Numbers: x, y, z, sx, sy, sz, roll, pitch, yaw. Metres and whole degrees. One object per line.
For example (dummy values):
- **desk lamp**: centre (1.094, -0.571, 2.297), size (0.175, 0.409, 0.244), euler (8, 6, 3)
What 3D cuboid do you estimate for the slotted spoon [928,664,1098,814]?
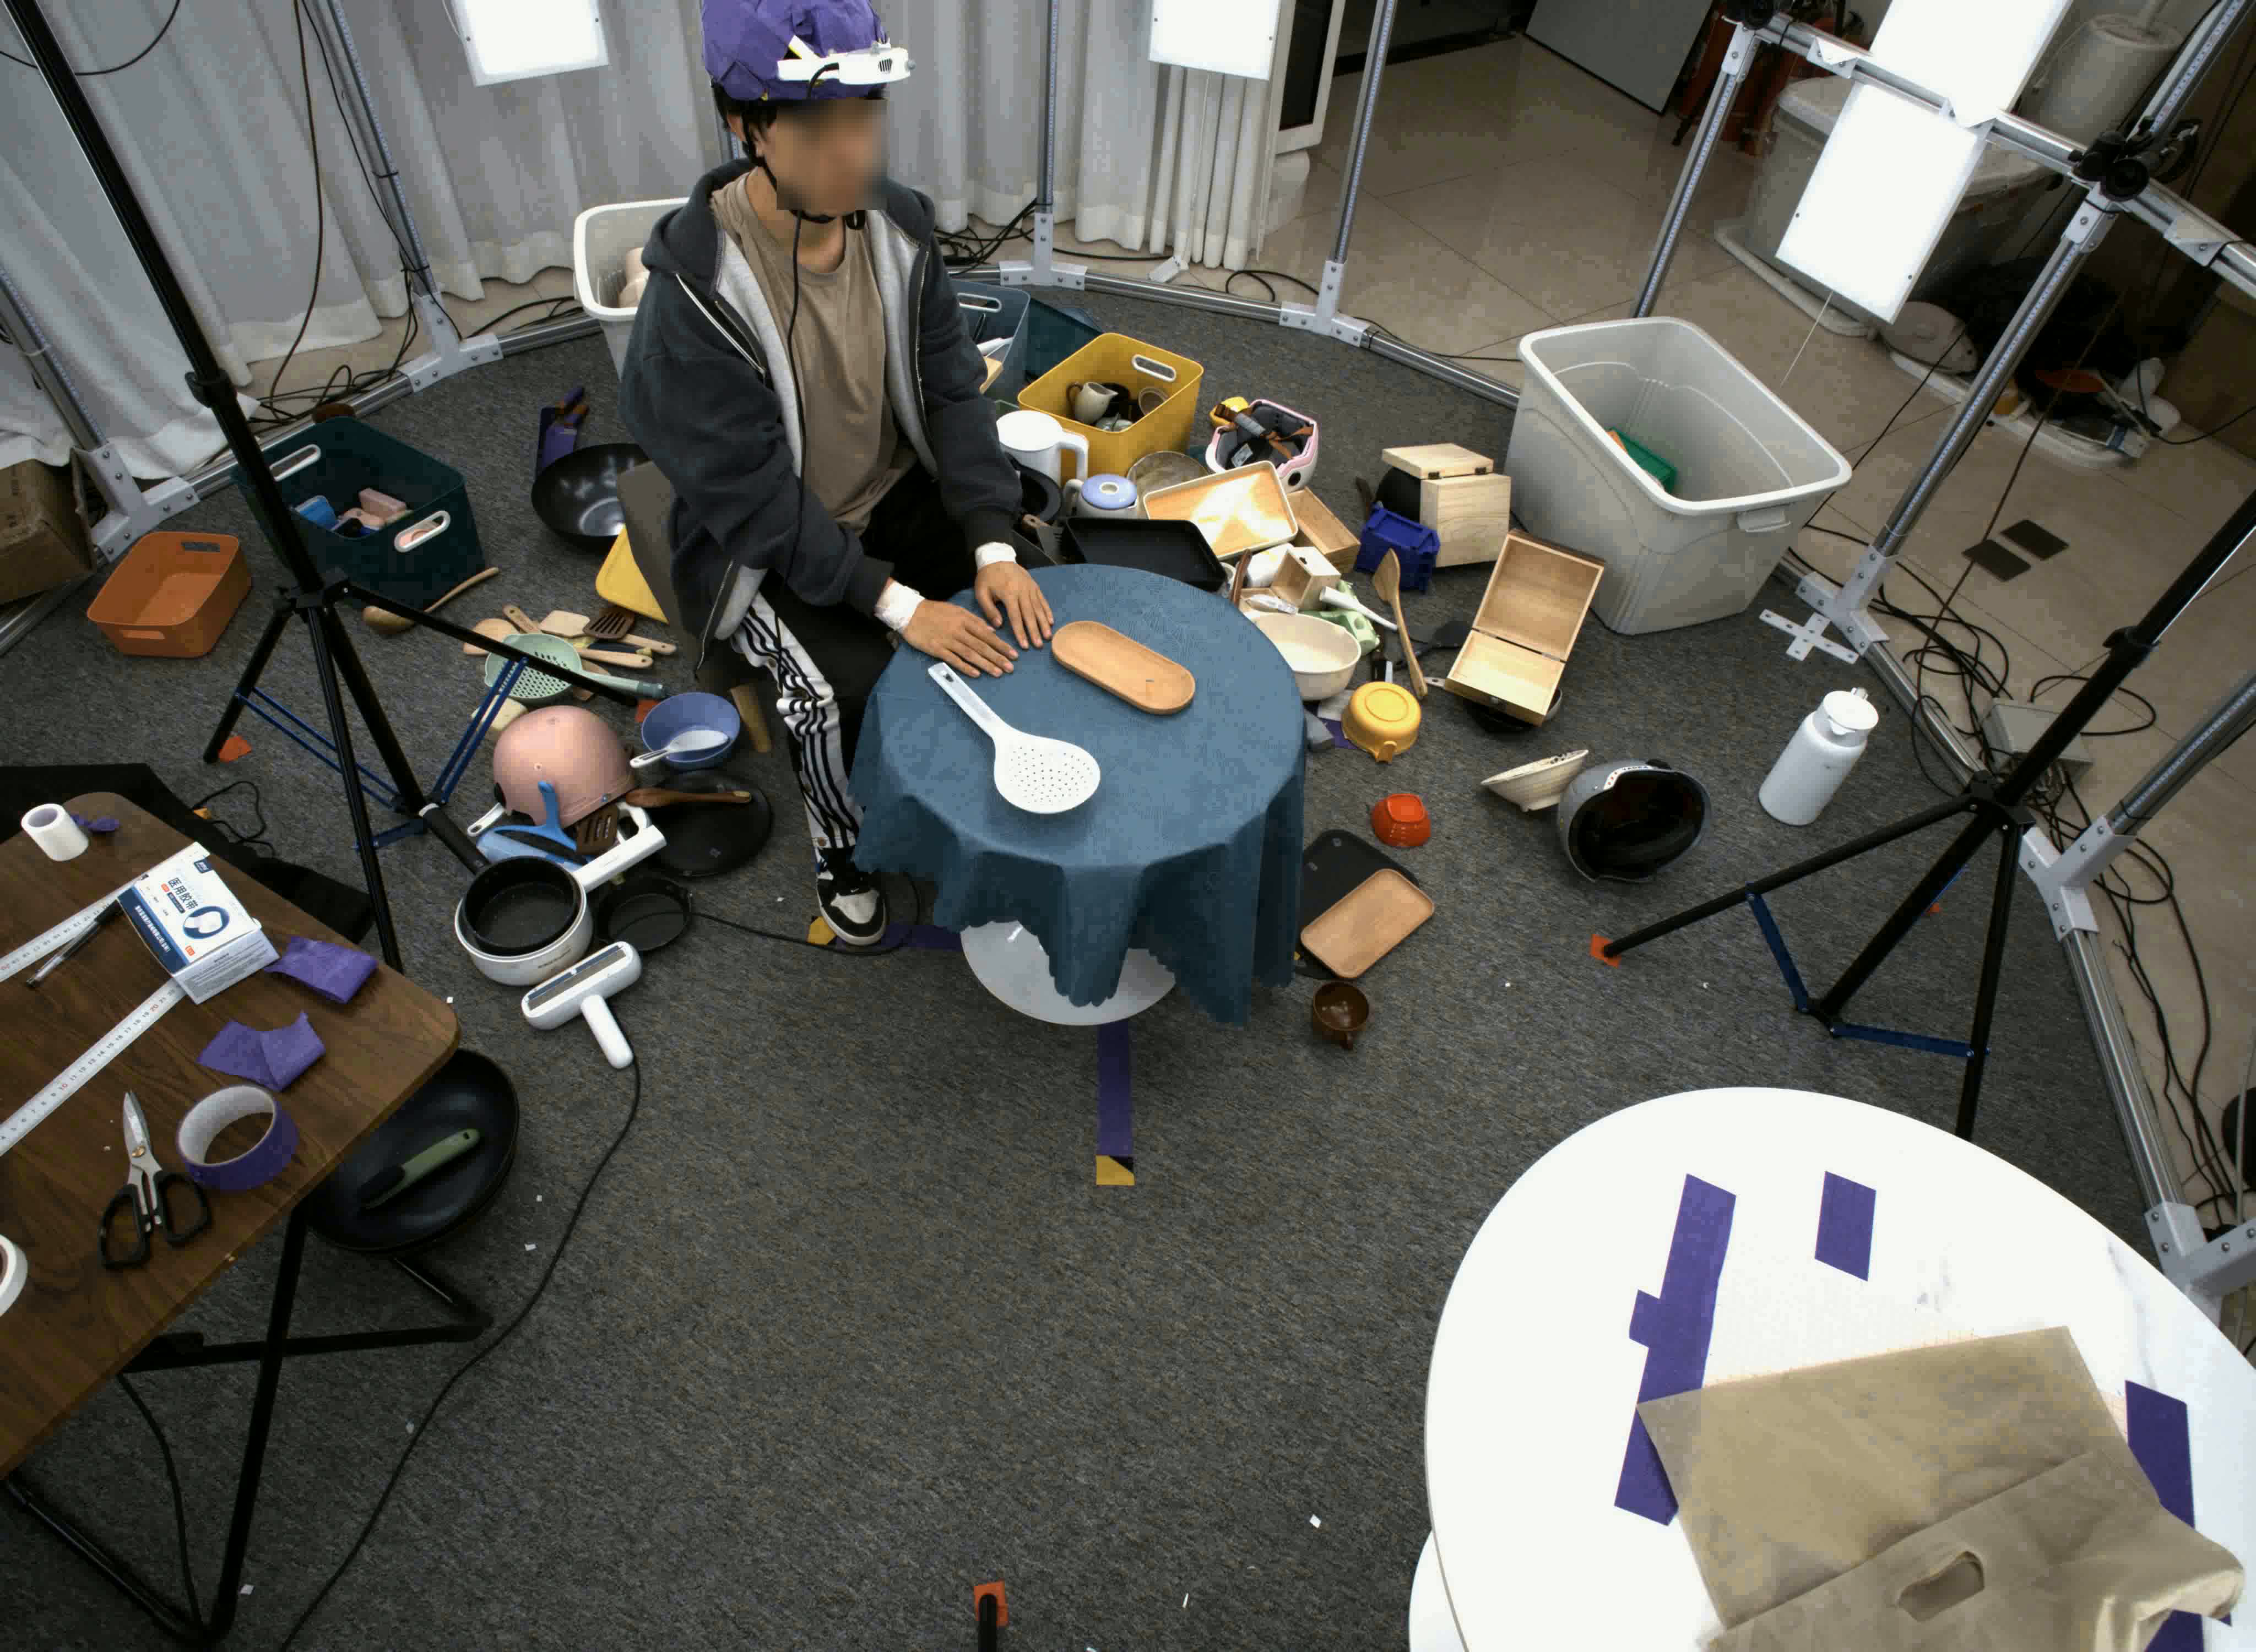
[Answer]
- **slotted spoon**: centre (-0.171, -0.123, 1.731), size (0.137, 0.044, 0.356), euler (-26, 54, -26)

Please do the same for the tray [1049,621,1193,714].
- **tray**: centre (-0.012, -0.230, 1.855), size (0.233, 0.020, 0.103), euler (29, 52, 21)
